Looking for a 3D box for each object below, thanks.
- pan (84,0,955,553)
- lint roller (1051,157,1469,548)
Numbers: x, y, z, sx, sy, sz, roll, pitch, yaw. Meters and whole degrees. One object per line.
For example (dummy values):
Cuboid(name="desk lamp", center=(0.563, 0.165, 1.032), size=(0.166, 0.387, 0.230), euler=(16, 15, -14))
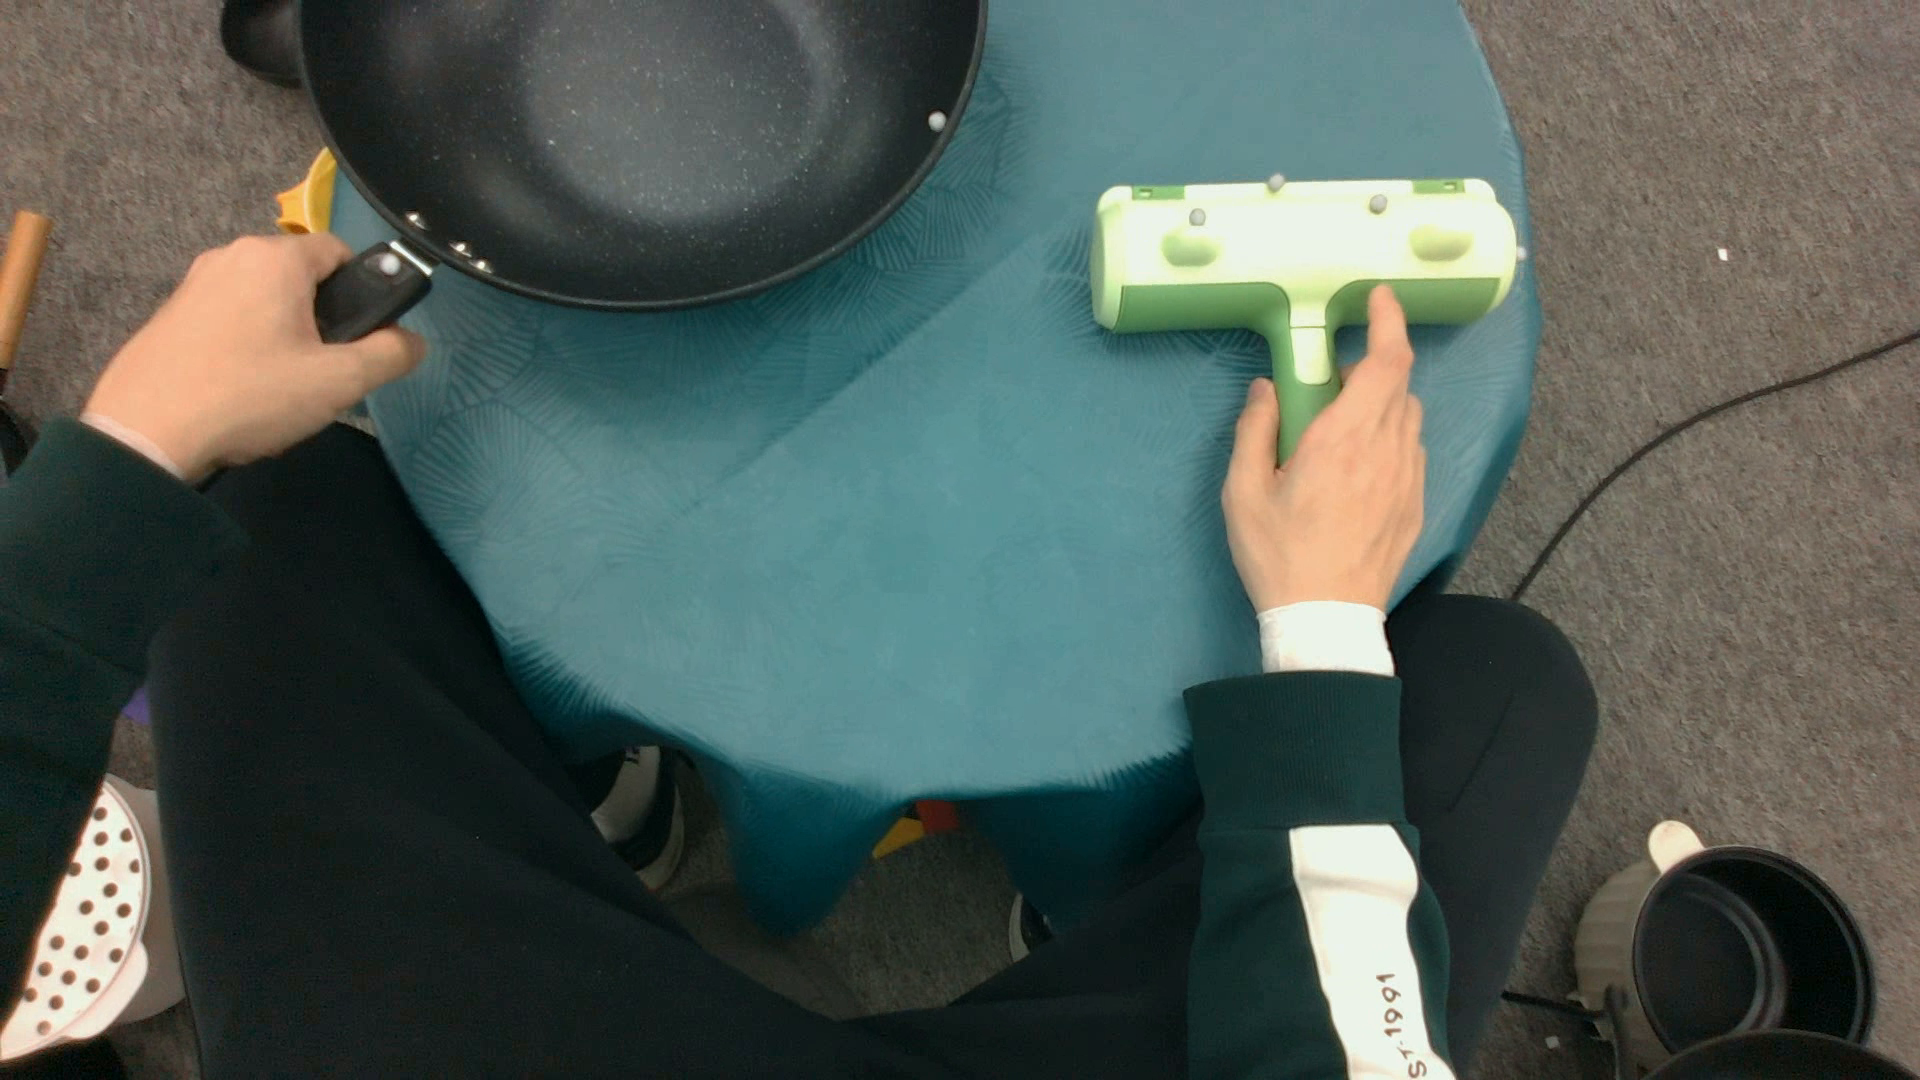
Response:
Cuboid(name="pan", center=(-0.203, -0.179, 0.637), size=(0.310, 0.111, 0.478), euler=(32, 77, 7))
Cuboid(name="lint roller", center=(0.150, -0.093, 0.643), size=(0.199, 0.082, 0.184), euler=(-5, 72, -5))
